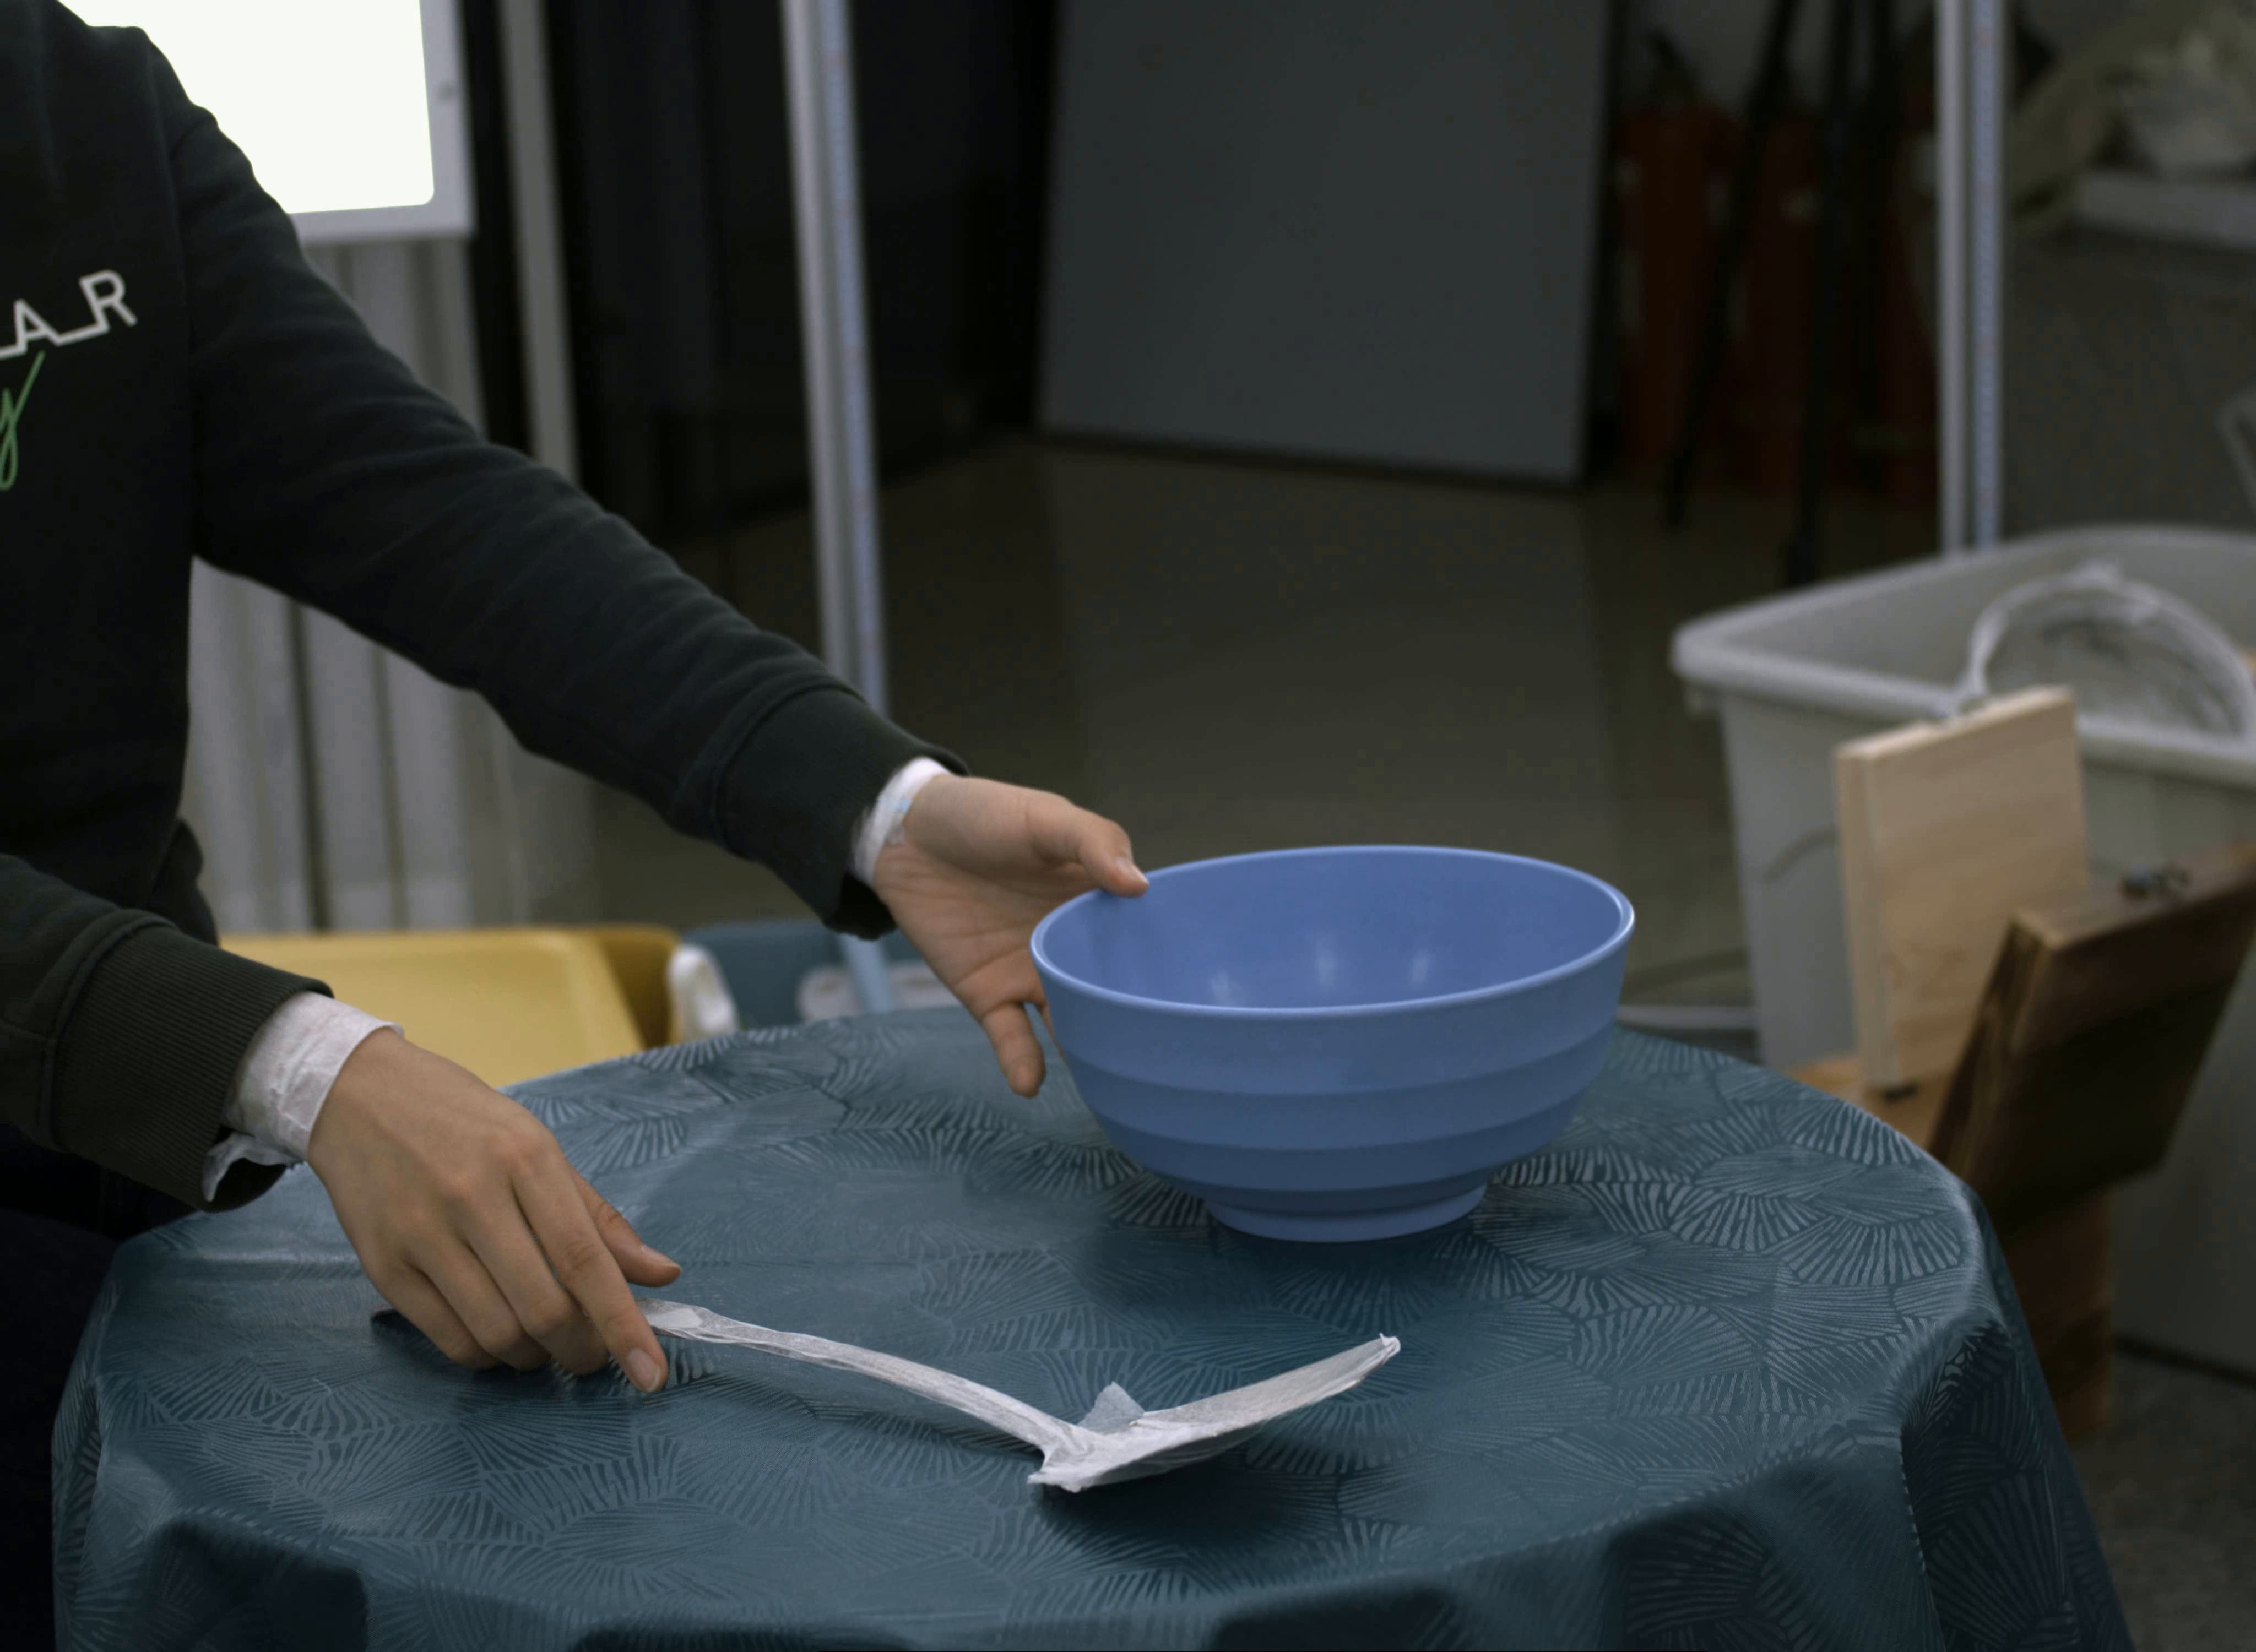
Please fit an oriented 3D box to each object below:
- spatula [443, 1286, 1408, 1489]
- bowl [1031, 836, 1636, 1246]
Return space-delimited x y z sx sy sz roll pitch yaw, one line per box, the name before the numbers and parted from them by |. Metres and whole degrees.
spatula | -0.080 0.153 1.587 0.367 0.045 0.097 7 19 38
bowl | 0.068 0.075 1.738 0.194 0.096 0.197 -4 15 0
